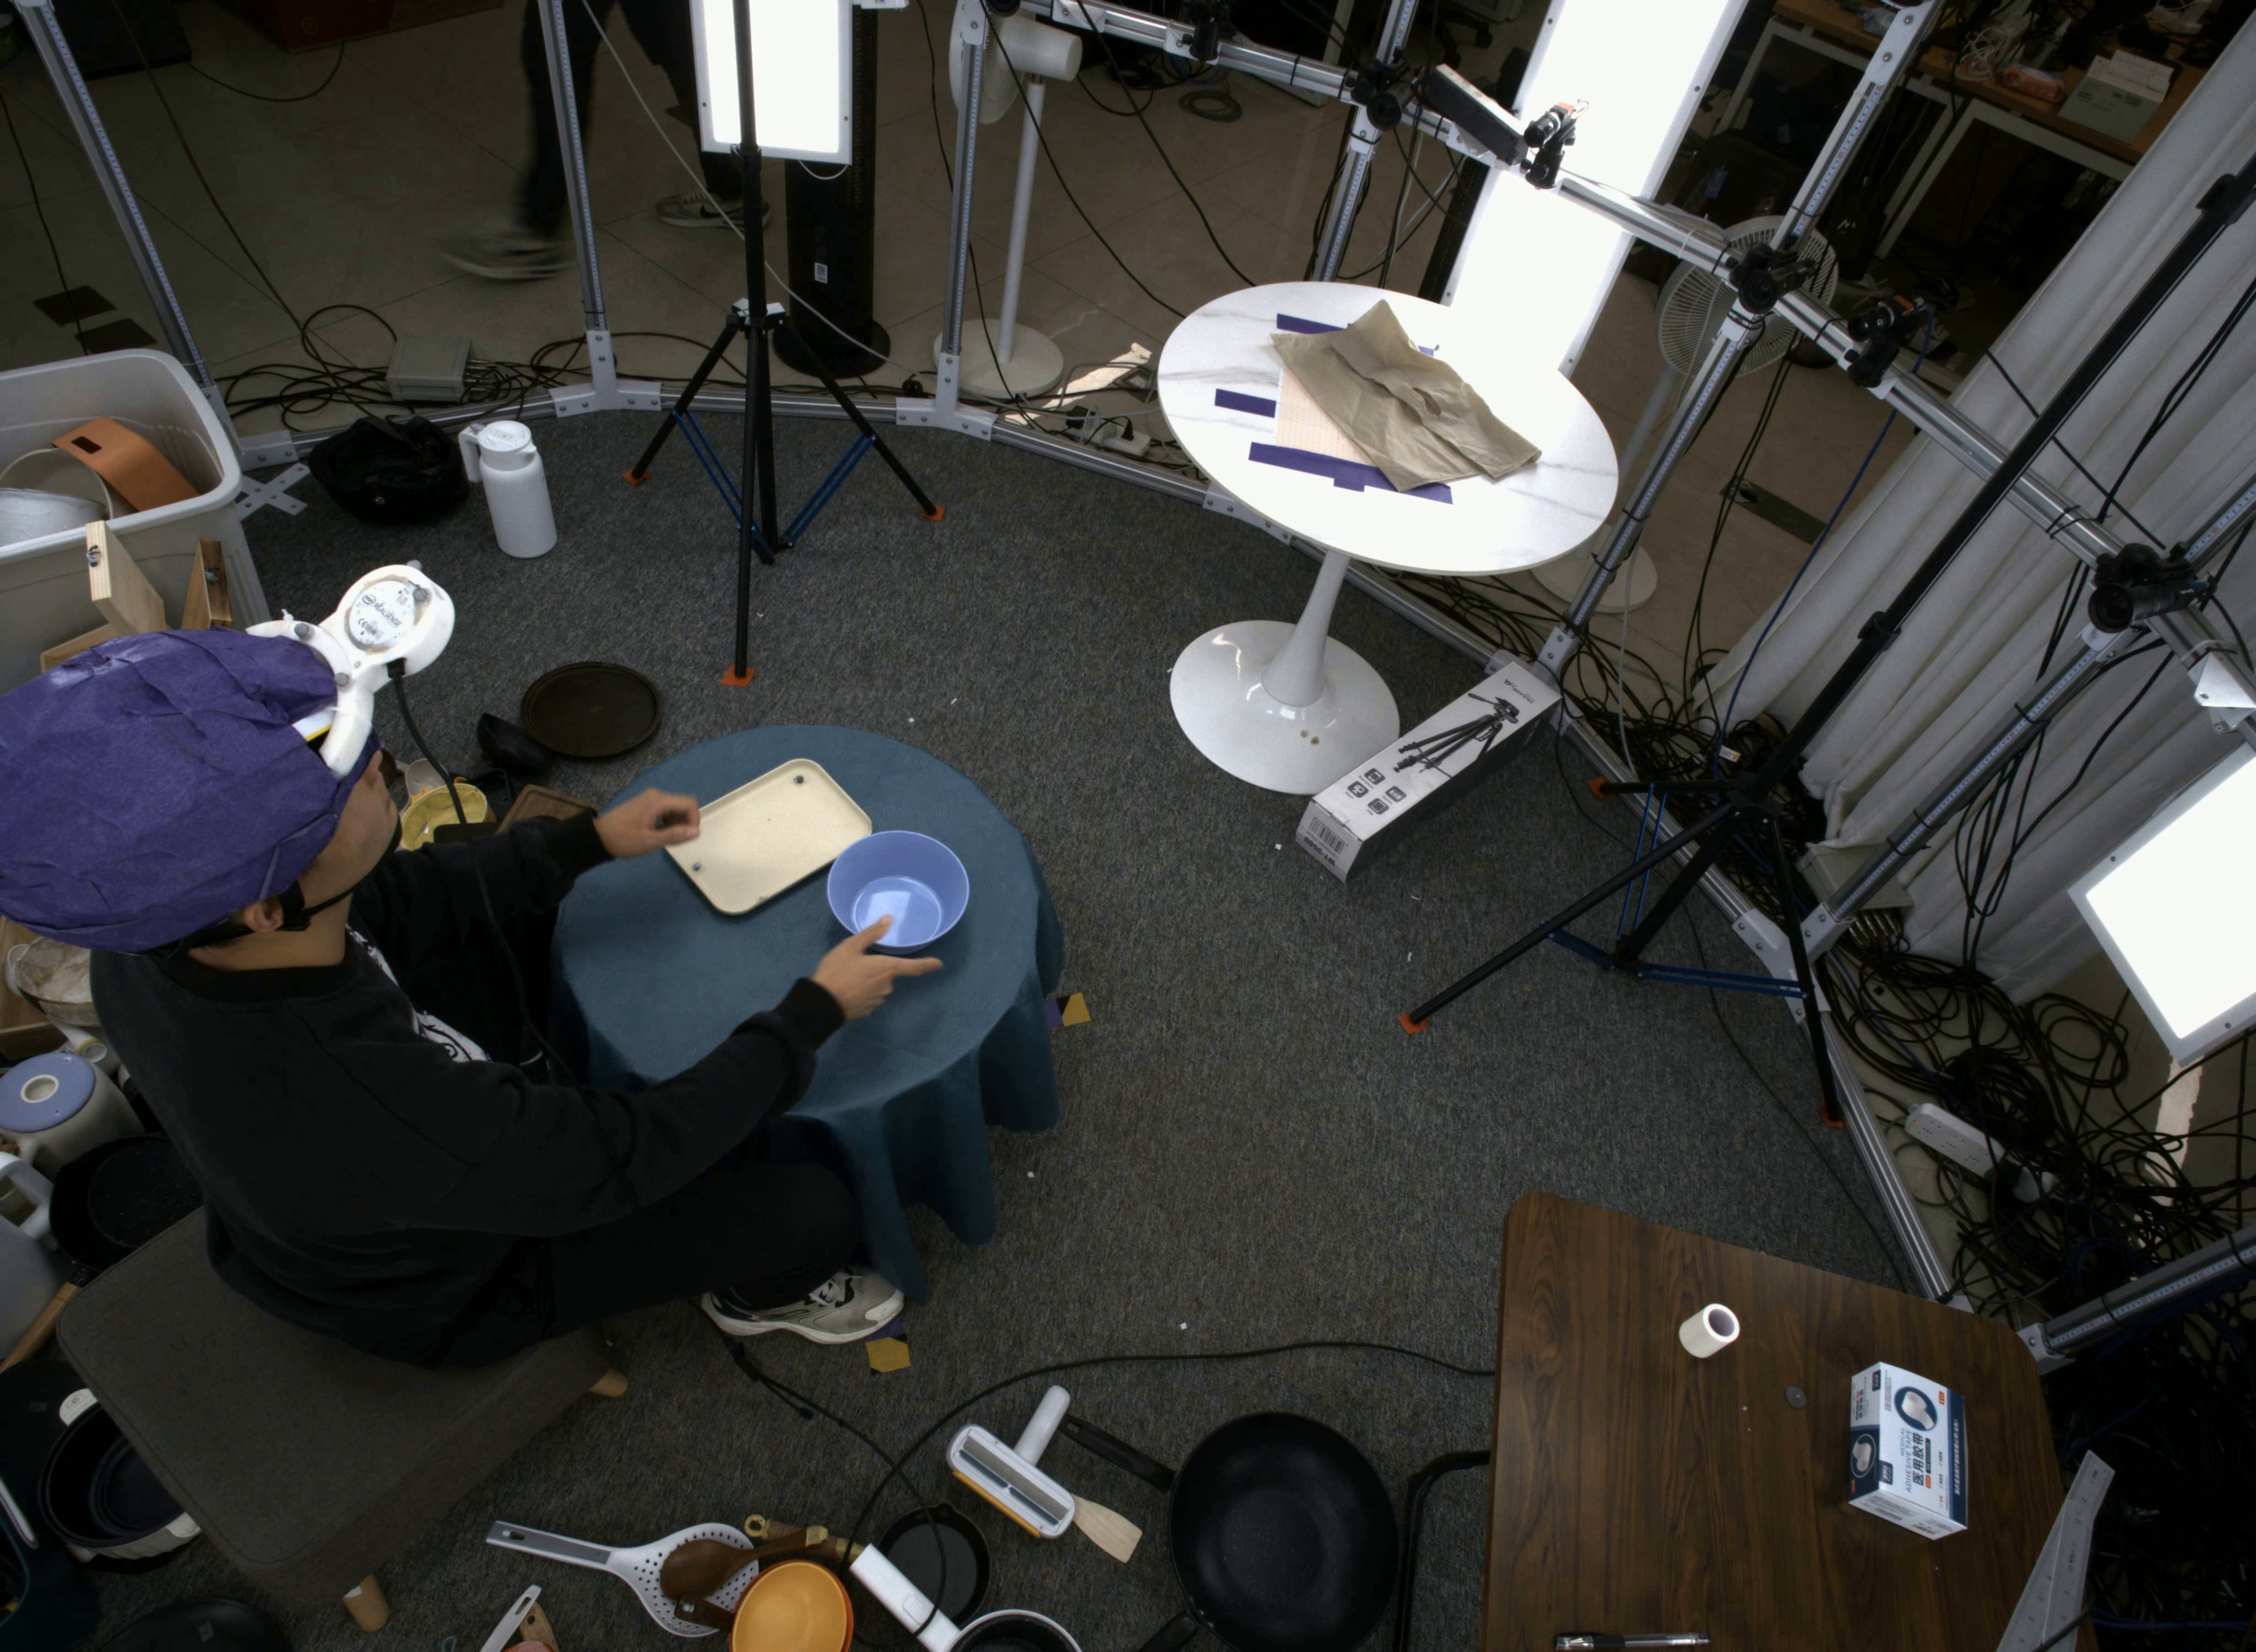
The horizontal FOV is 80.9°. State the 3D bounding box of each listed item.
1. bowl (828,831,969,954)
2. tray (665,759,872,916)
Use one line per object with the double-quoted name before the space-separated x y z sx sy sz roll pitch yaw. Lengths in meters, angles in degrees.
"bowl" -0.290 0.094 1.648 0.175 0.072 0.173 7 52 -8
"tray" -0.470 0.012 1.697 0.240 0.018 0.167 -34 68 -32
